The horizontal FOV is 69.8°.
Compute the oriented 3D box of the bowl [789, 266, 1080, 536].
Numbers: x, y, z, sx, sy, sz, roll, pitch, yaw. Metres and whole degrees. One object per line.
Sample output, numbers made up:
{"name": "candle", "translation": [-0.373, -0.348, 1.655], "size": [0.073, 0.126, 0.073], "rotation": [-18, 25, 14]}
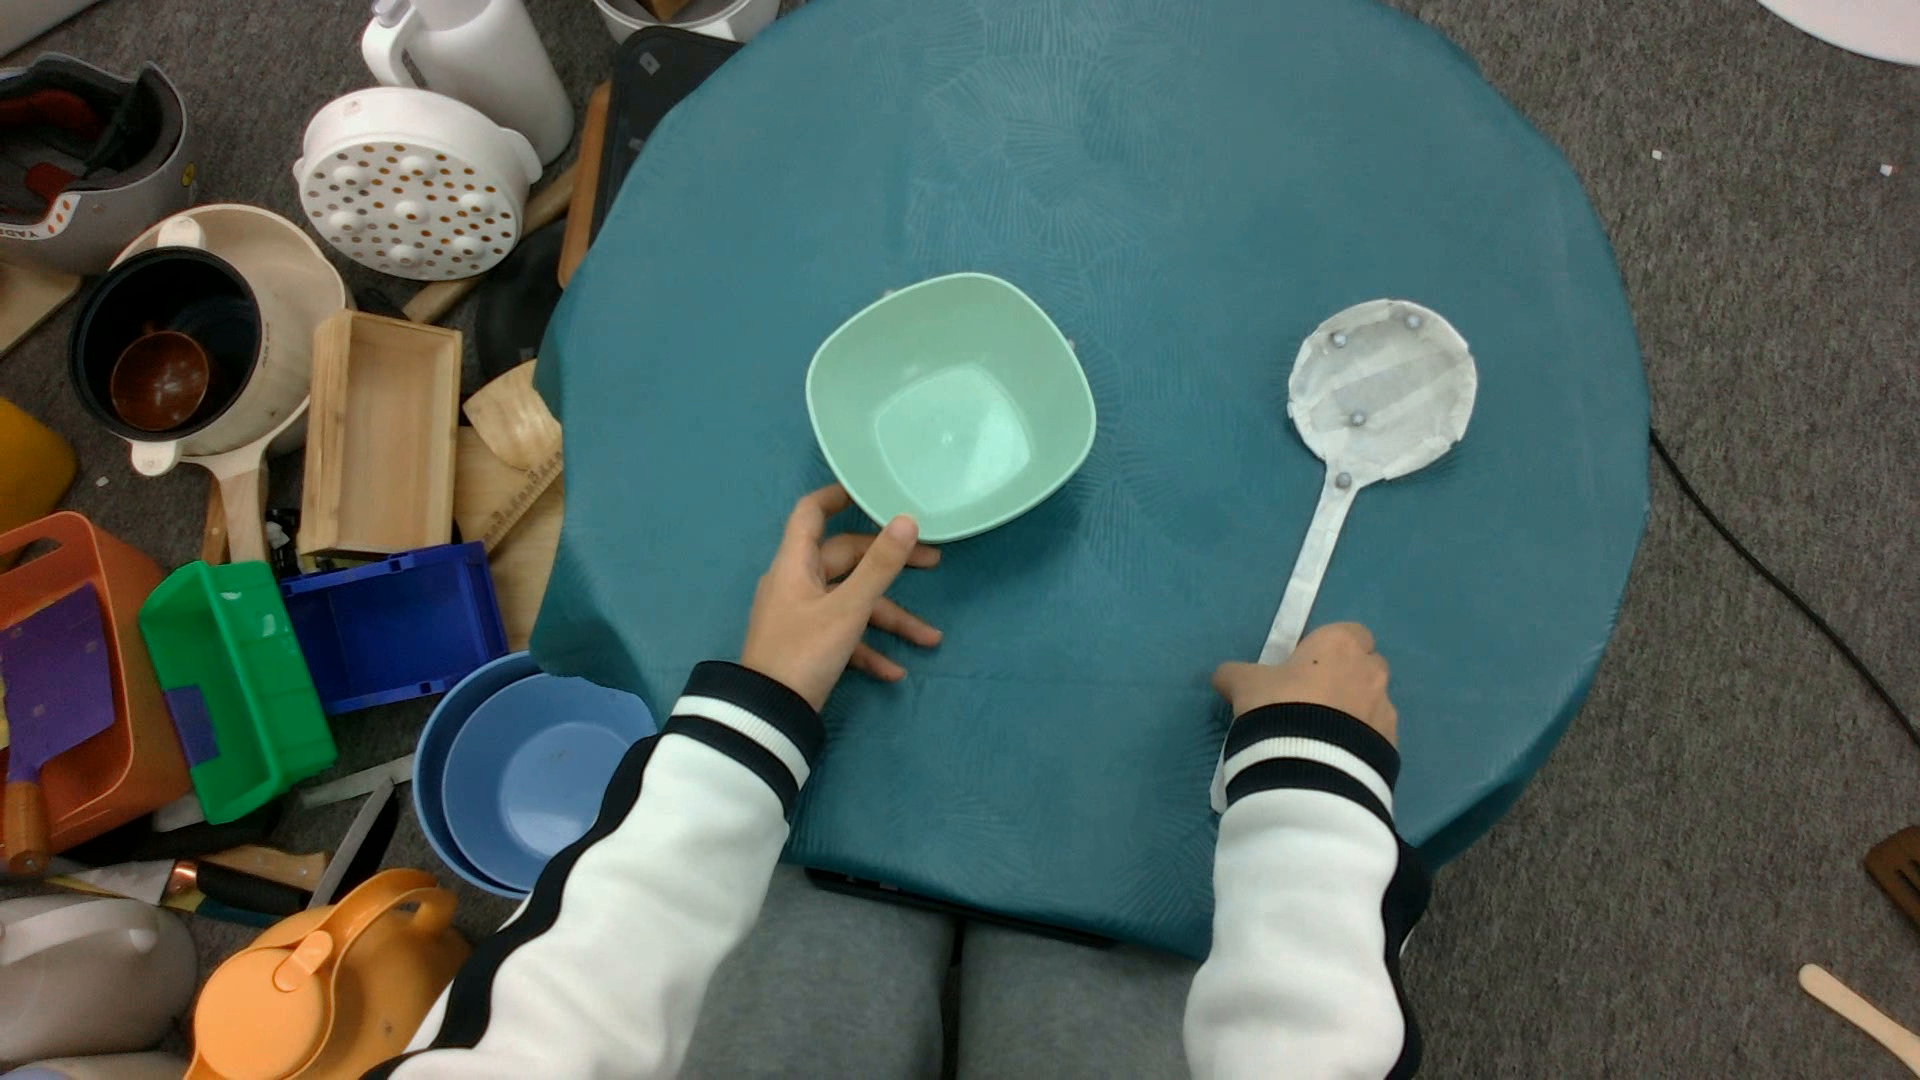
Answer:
{"name": "bowl", "translation": [-0.013, -0.065, 0.726], "size": [0.151, 0.058, 0.152], "rotation": [0, 72, 0]}

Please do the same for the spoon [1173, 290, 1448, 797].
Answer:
{"name": "spoon", "translation": [0.163, -0.003, 0.702], "size": [0.100, 0.059, 0.278], "rotation": [21, 71, 20]}
